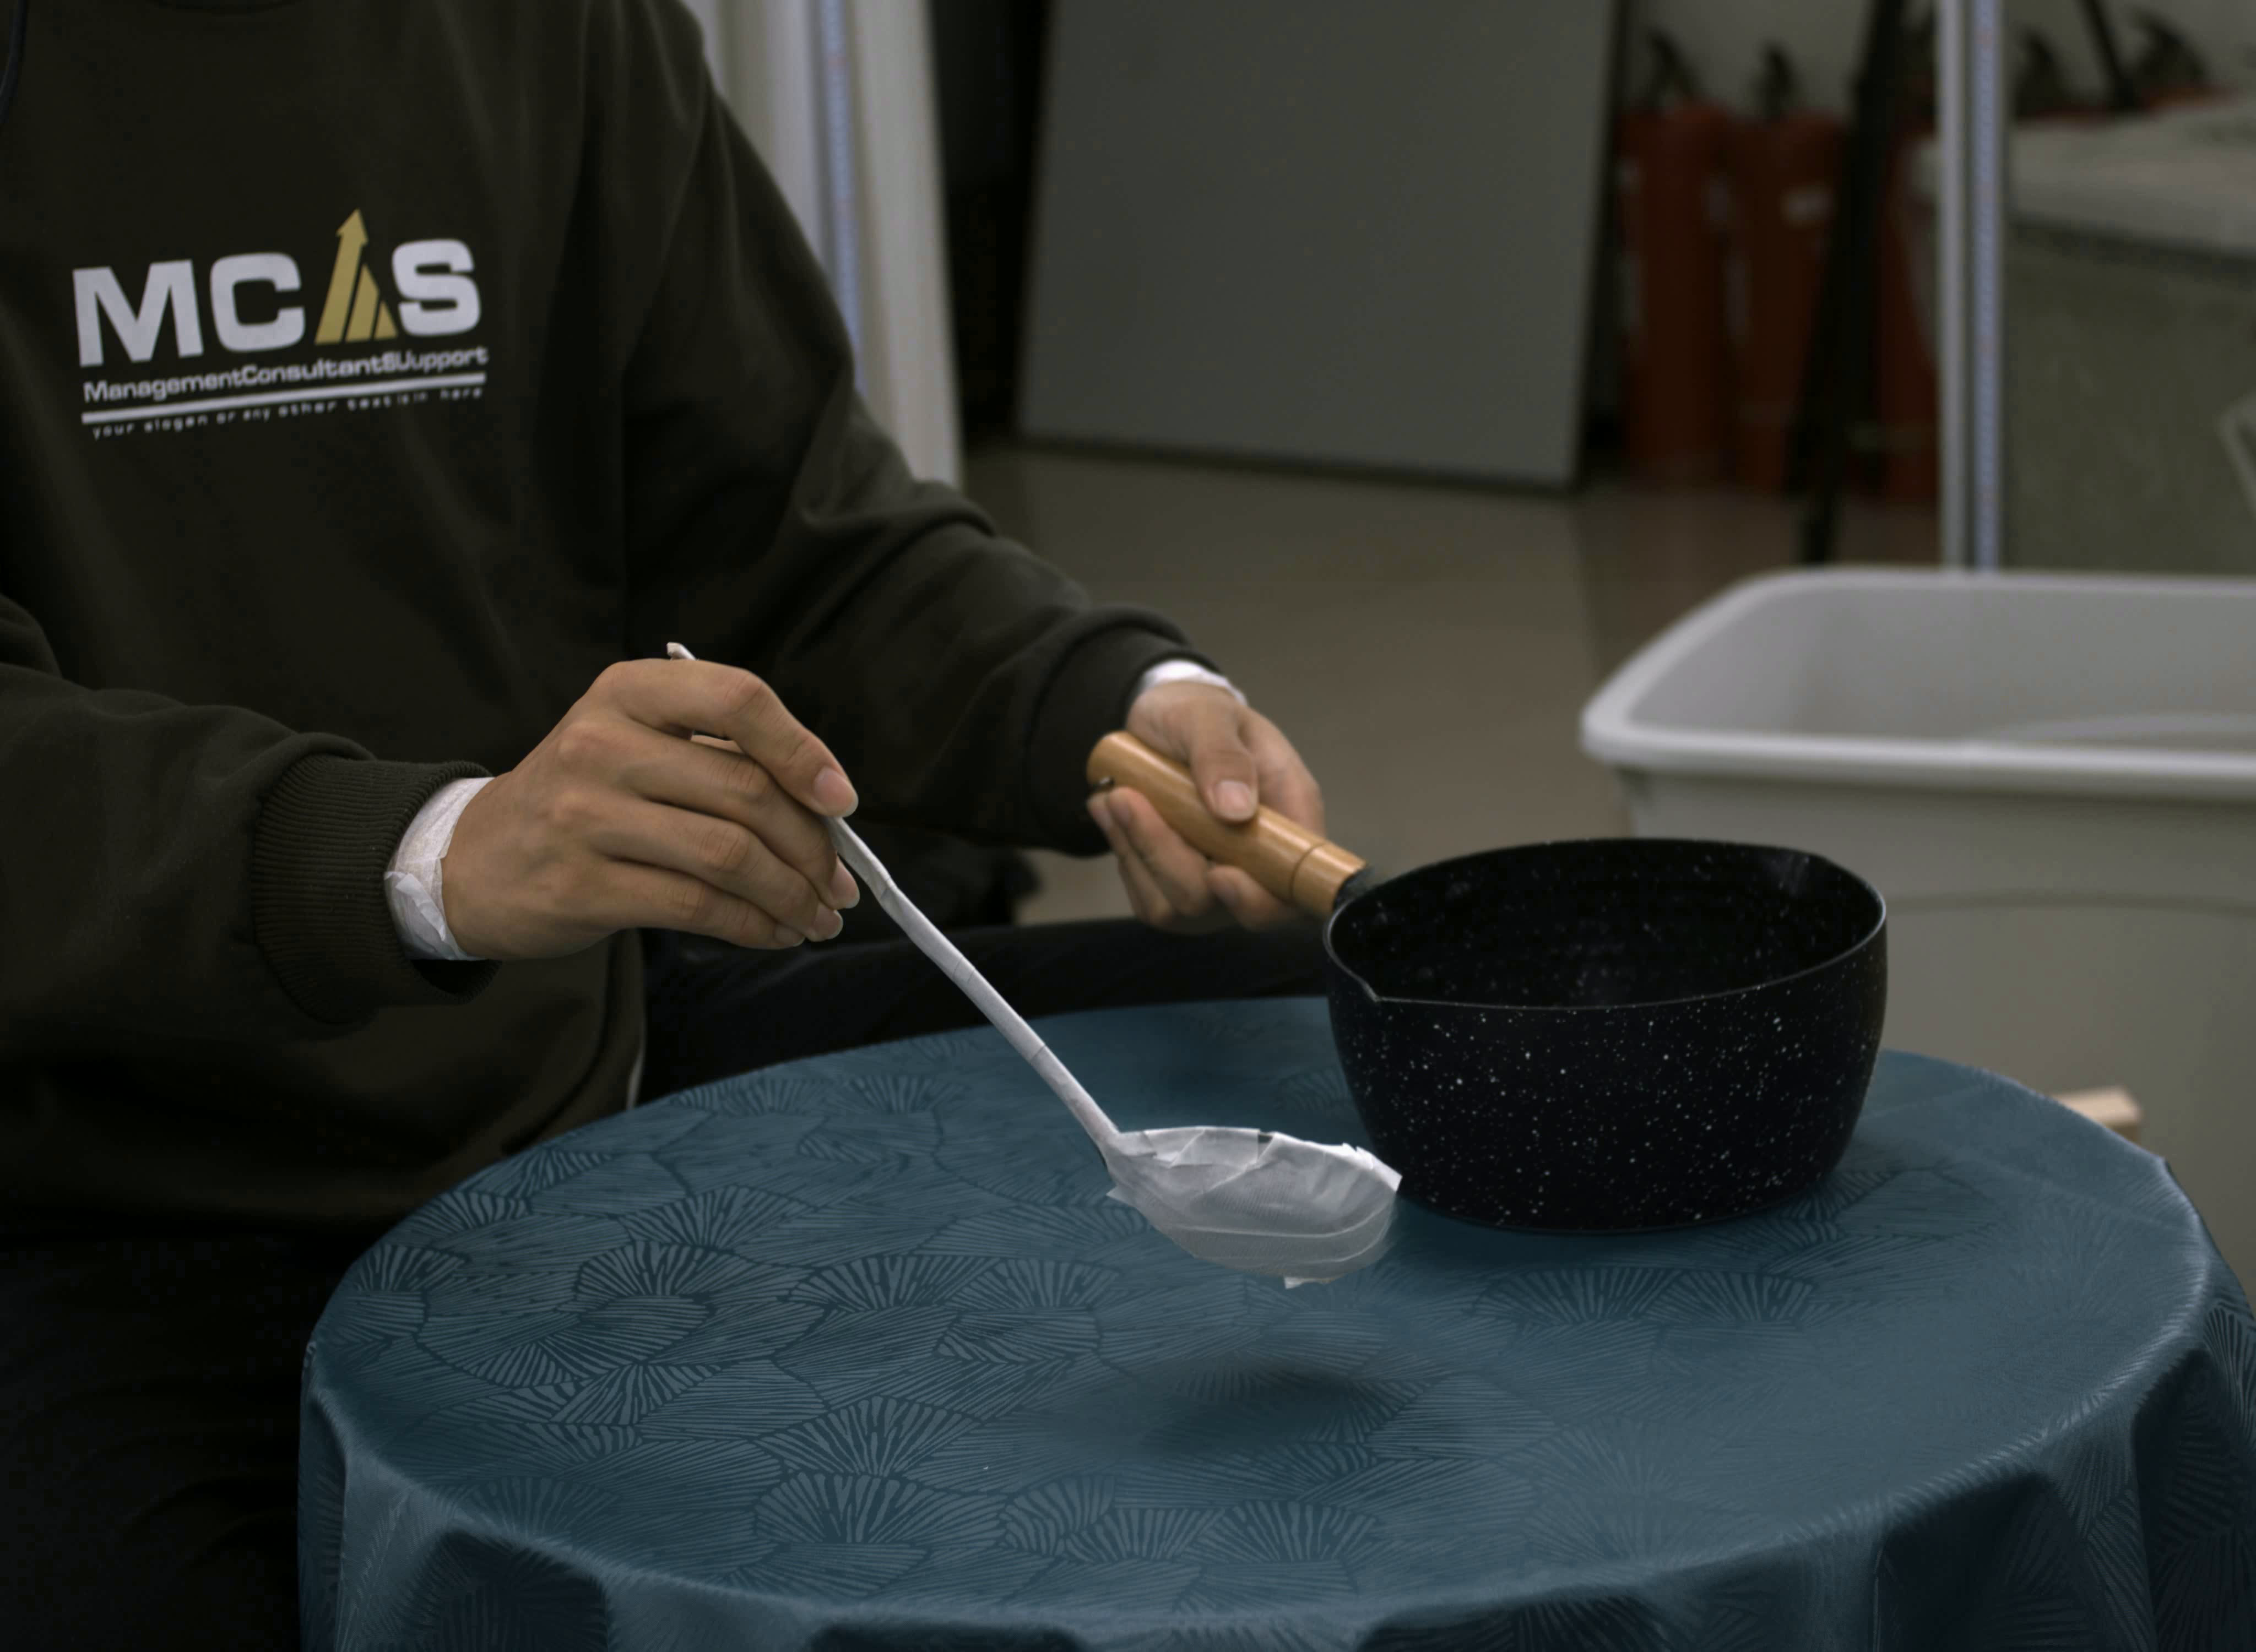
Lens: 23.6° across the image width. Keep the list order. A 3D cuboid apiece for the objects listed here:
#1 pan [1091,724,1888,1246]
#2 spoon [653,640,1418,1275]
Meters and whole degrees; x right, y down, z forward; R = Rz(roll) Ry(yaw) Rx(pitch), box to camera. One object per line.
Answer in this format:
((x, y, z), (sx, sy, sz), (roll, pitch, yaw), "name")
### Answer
((0.104, 0.046, 1.810), (0.203, 0.109, 0.346), (-19, 22, -37), "pan")
((-0.029, 0.035, 1.583), (0.058, 0.279, 0.101), (-37, -12, -27), "spoon")
